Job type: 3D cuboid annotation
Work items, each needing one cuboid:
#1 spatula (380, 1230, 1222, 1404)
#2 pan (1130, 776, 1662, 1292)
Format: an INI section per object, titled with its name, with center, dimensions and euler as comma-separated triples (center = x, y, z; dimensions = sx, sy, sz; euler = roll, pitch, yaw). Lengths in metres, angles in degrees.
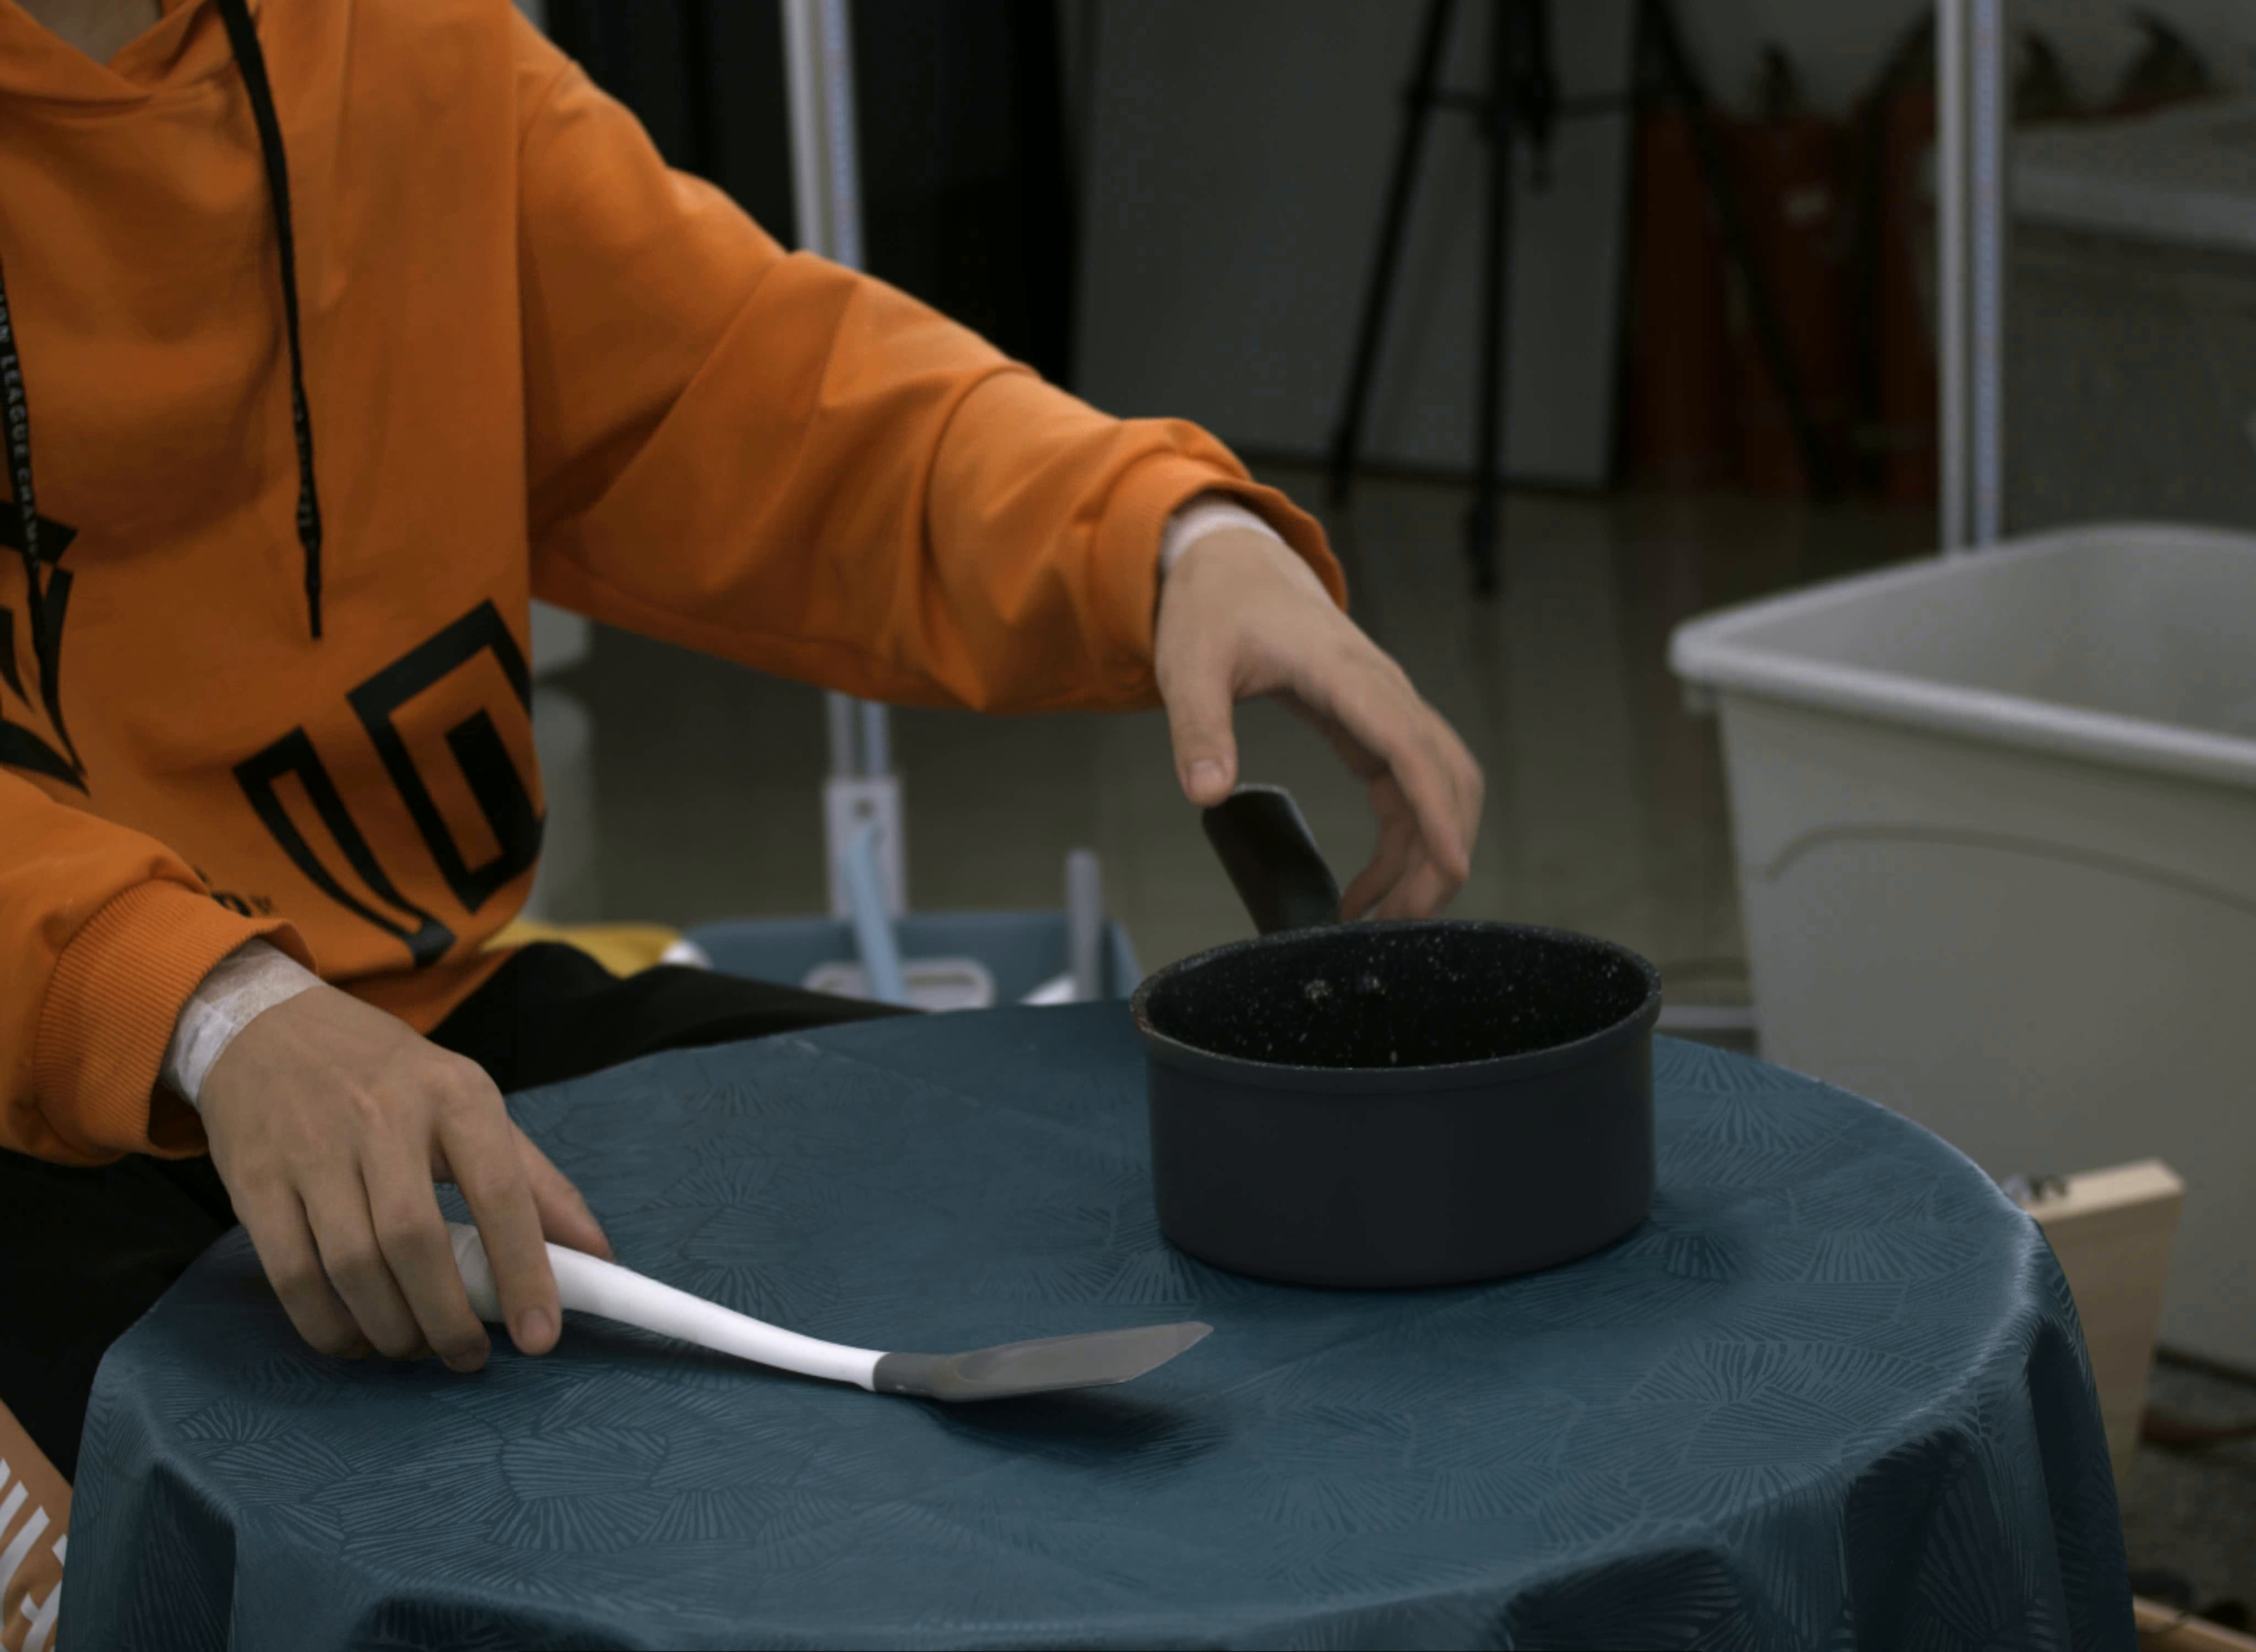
[spatula]
center = -0.102, 0.150, 1.617
dimensions = 0.289, 0.032, 0.057
euler = 4, 11, 32
[pan]
center = 0.076, 0.066, 1.795
dimensions = 0.169, 0.087, 0.330
euler = -5, 15, -6
